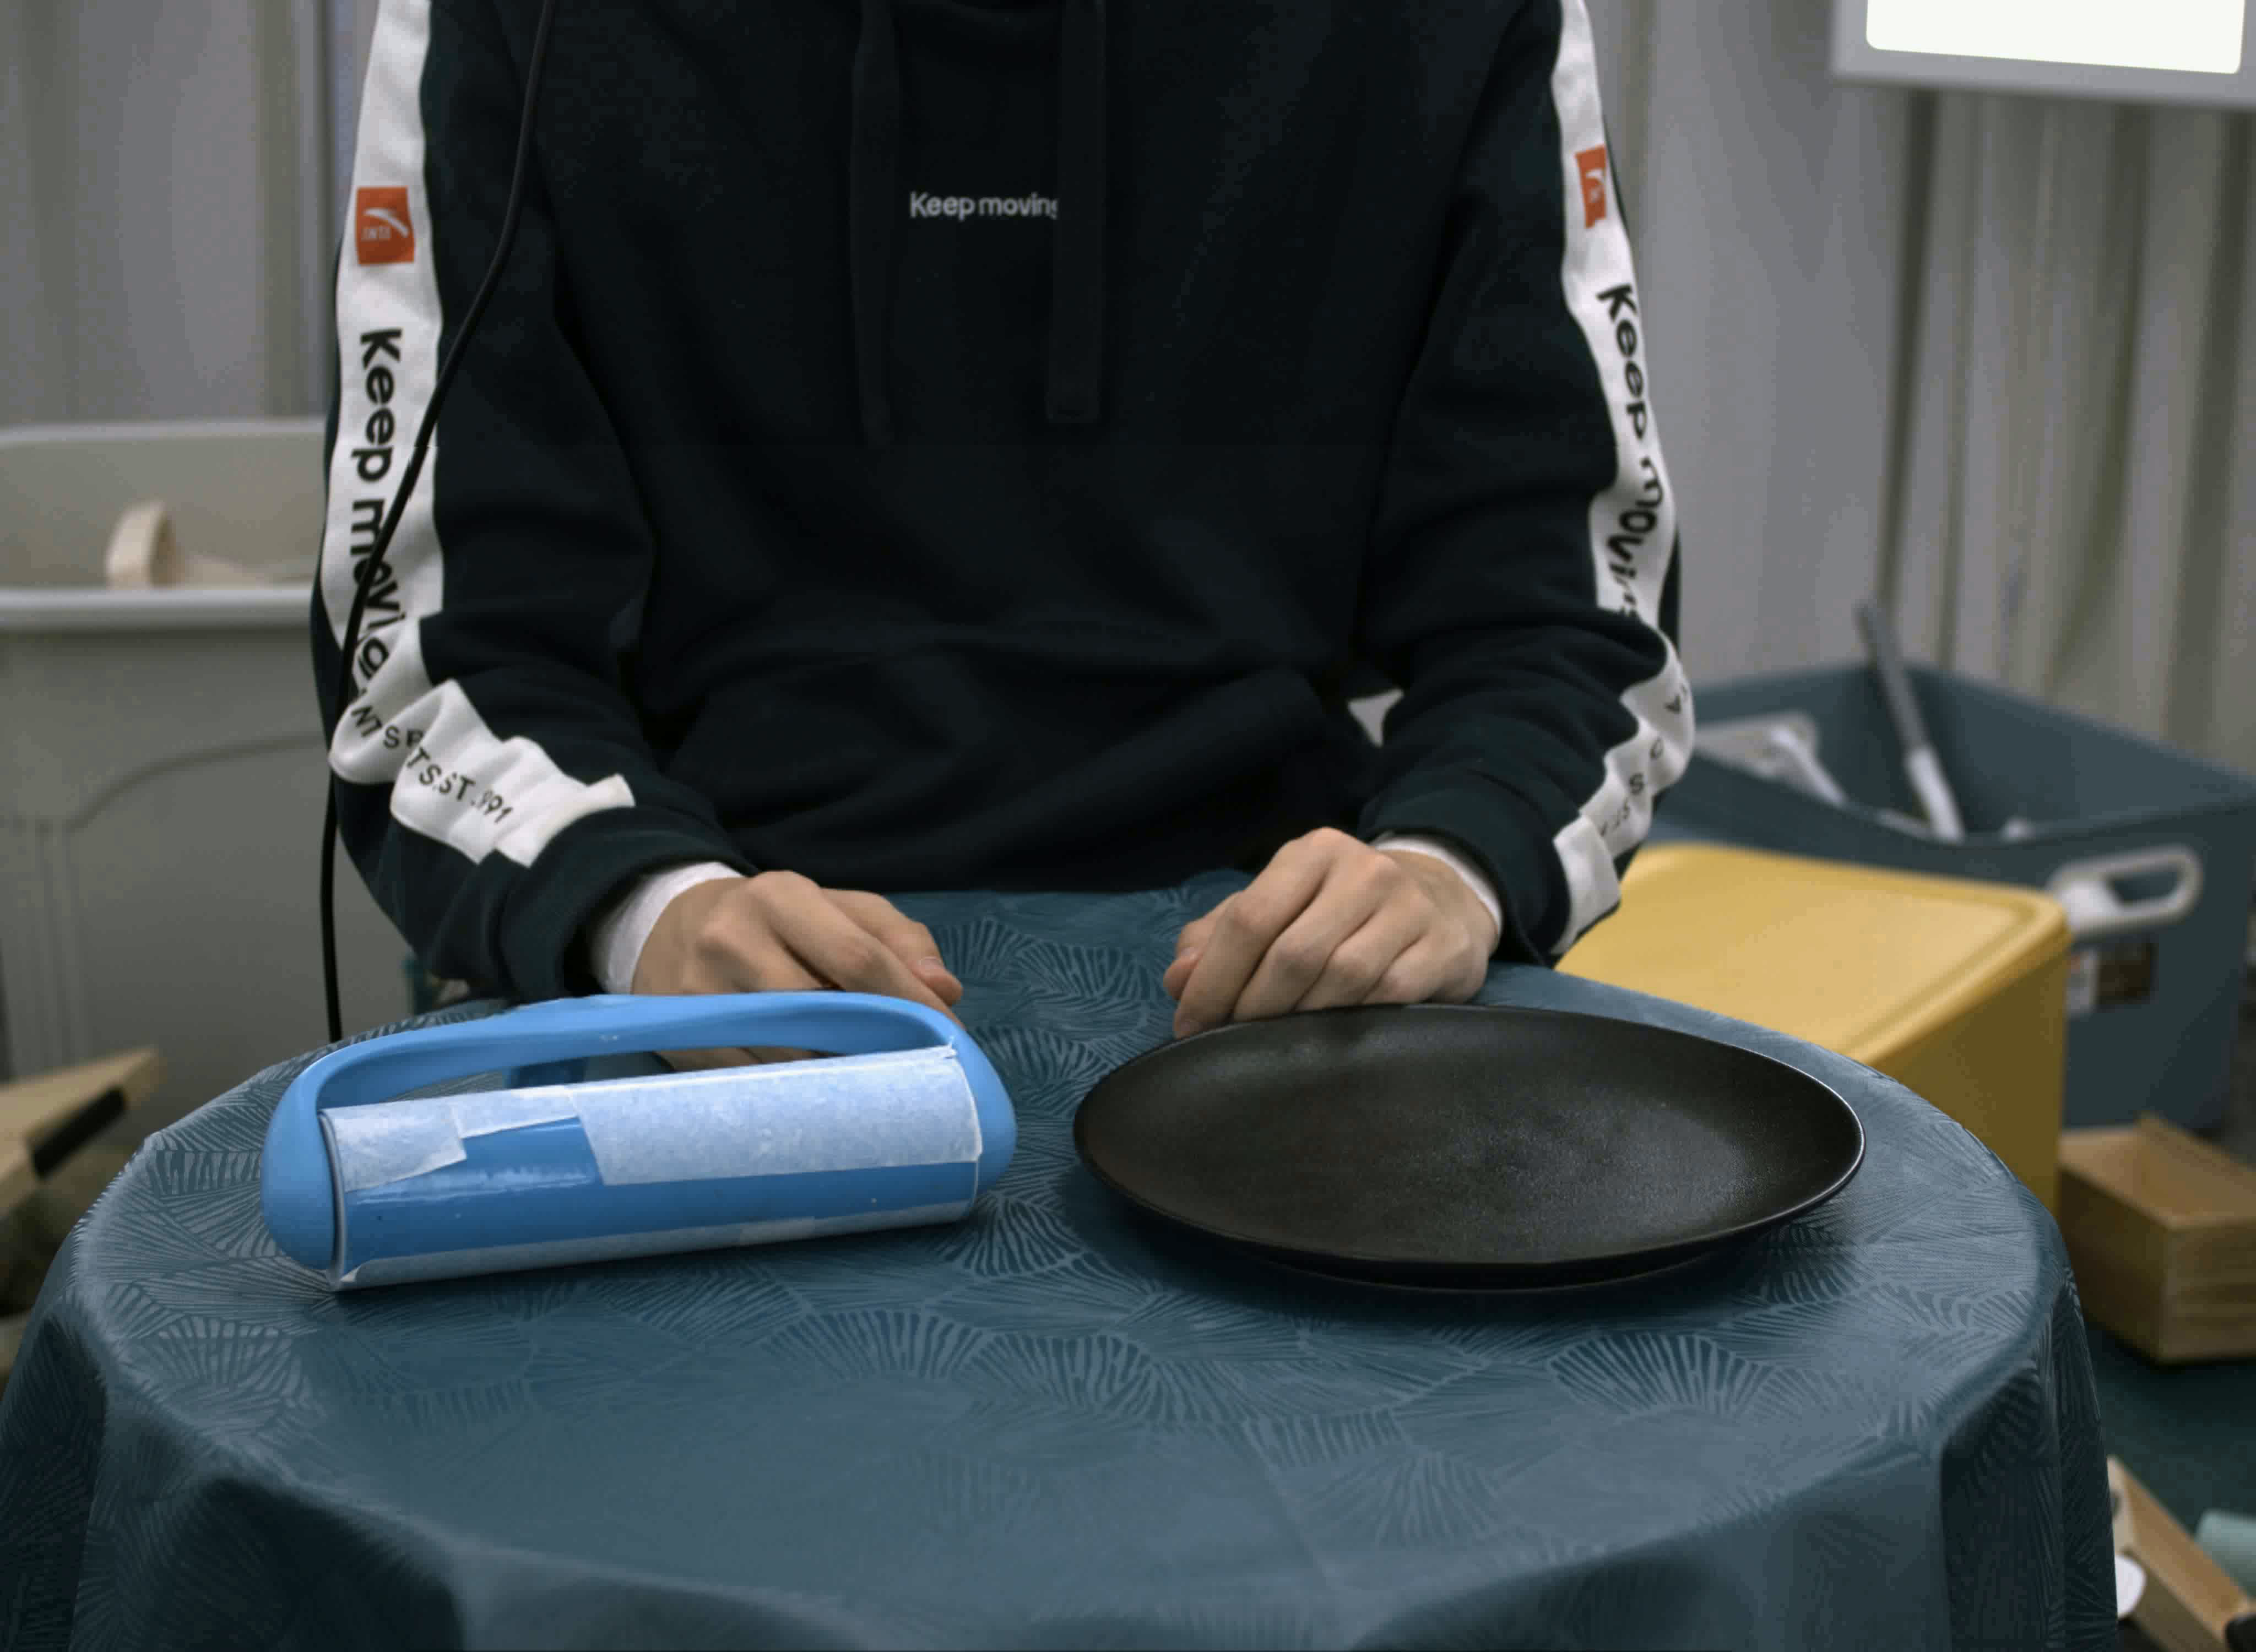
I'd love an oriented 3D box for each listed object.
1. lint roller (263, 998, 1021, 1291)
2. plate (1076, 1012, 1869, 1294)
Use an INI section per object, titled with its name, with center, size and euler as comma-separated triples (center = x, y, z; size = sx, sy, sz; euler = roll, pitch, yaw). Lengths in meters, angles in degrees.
[lint roller]
center = -0.163, 0.085, 1.607
size = 0.229, 0.068, 0.178
euler = -7, 16, -22
[plate]
center = 0.105, 0.102, 1.618
size = 0.243, 0.023, 0.243
euler = 1, 15, 0
